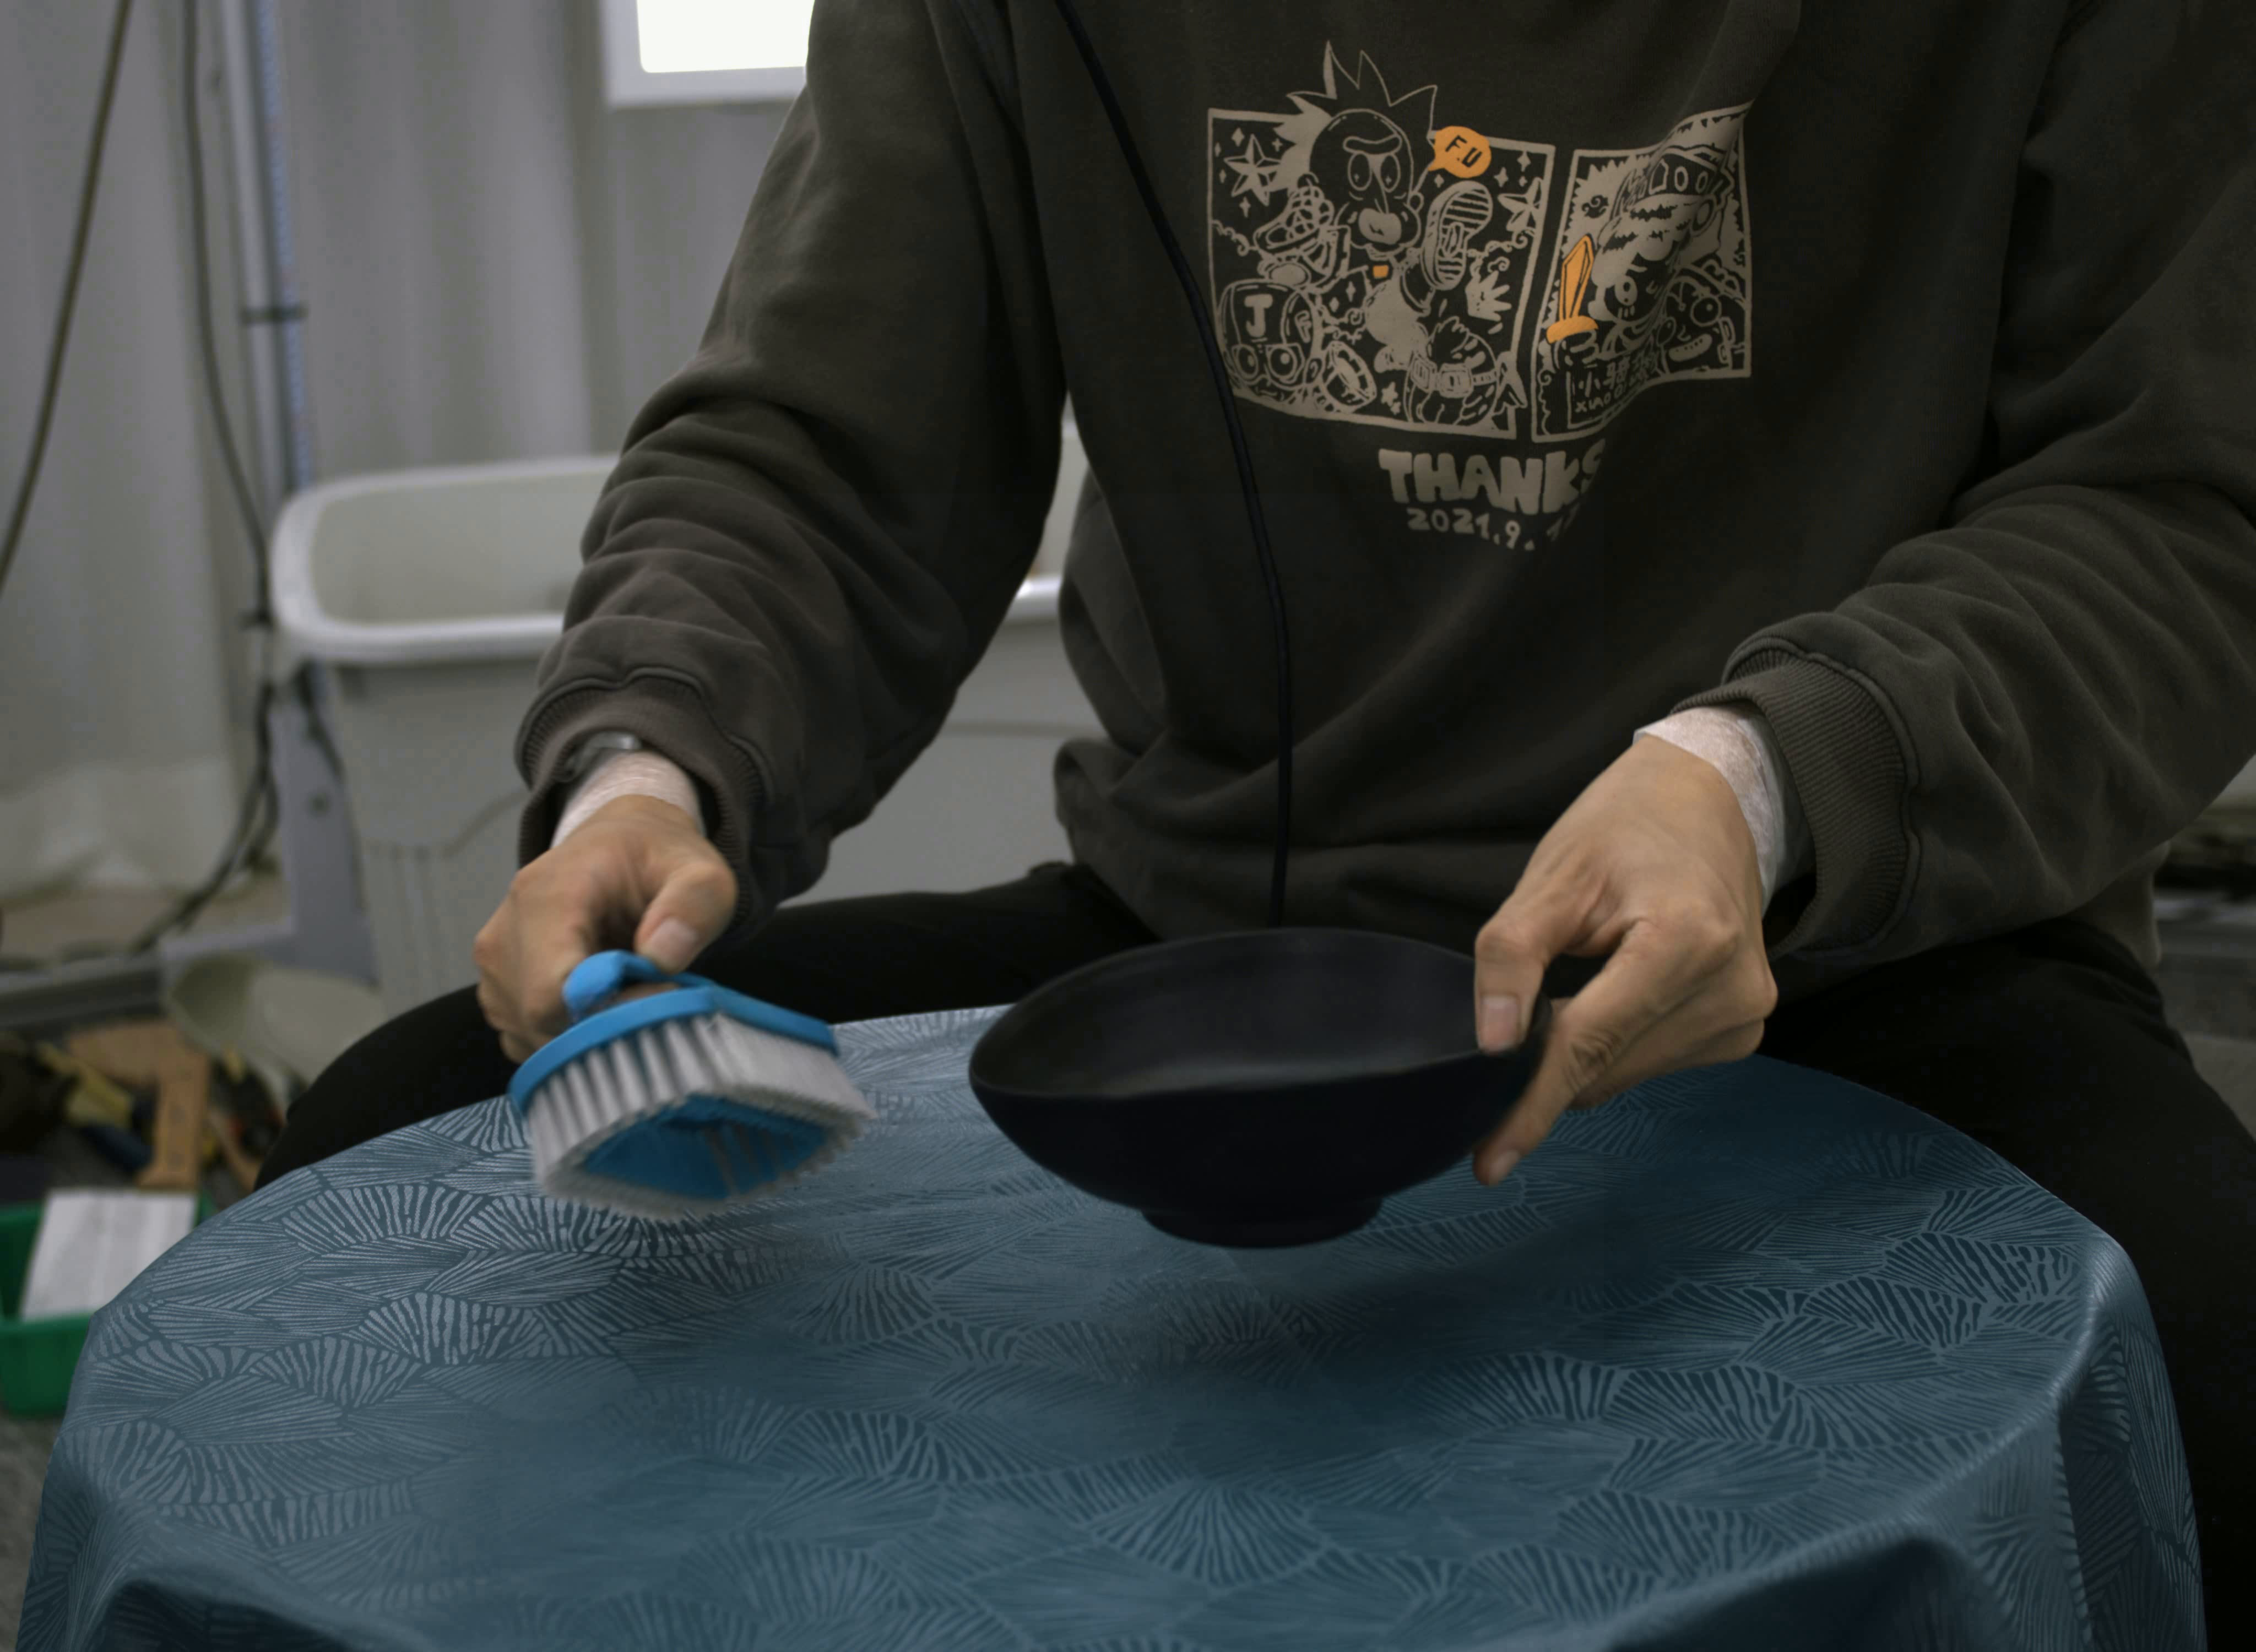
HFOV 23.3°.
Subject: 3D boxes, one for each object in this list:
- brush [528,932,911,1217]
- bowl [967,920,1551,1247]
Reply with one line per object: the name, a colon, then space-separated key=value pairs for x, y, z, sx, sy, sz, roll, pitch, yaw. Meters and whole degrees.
brush: x=-0.128 y=0.066 z=1.626 sx=0.084 sy=0.064 sz=0.140 roll=-35 pitch=-22 yaw=15
bowl: x=0.039 y=0.080 z=1.576 sx=0.169 sy=0.066 sz=0.138 roll=-6 pitch=16 yaw=-11
